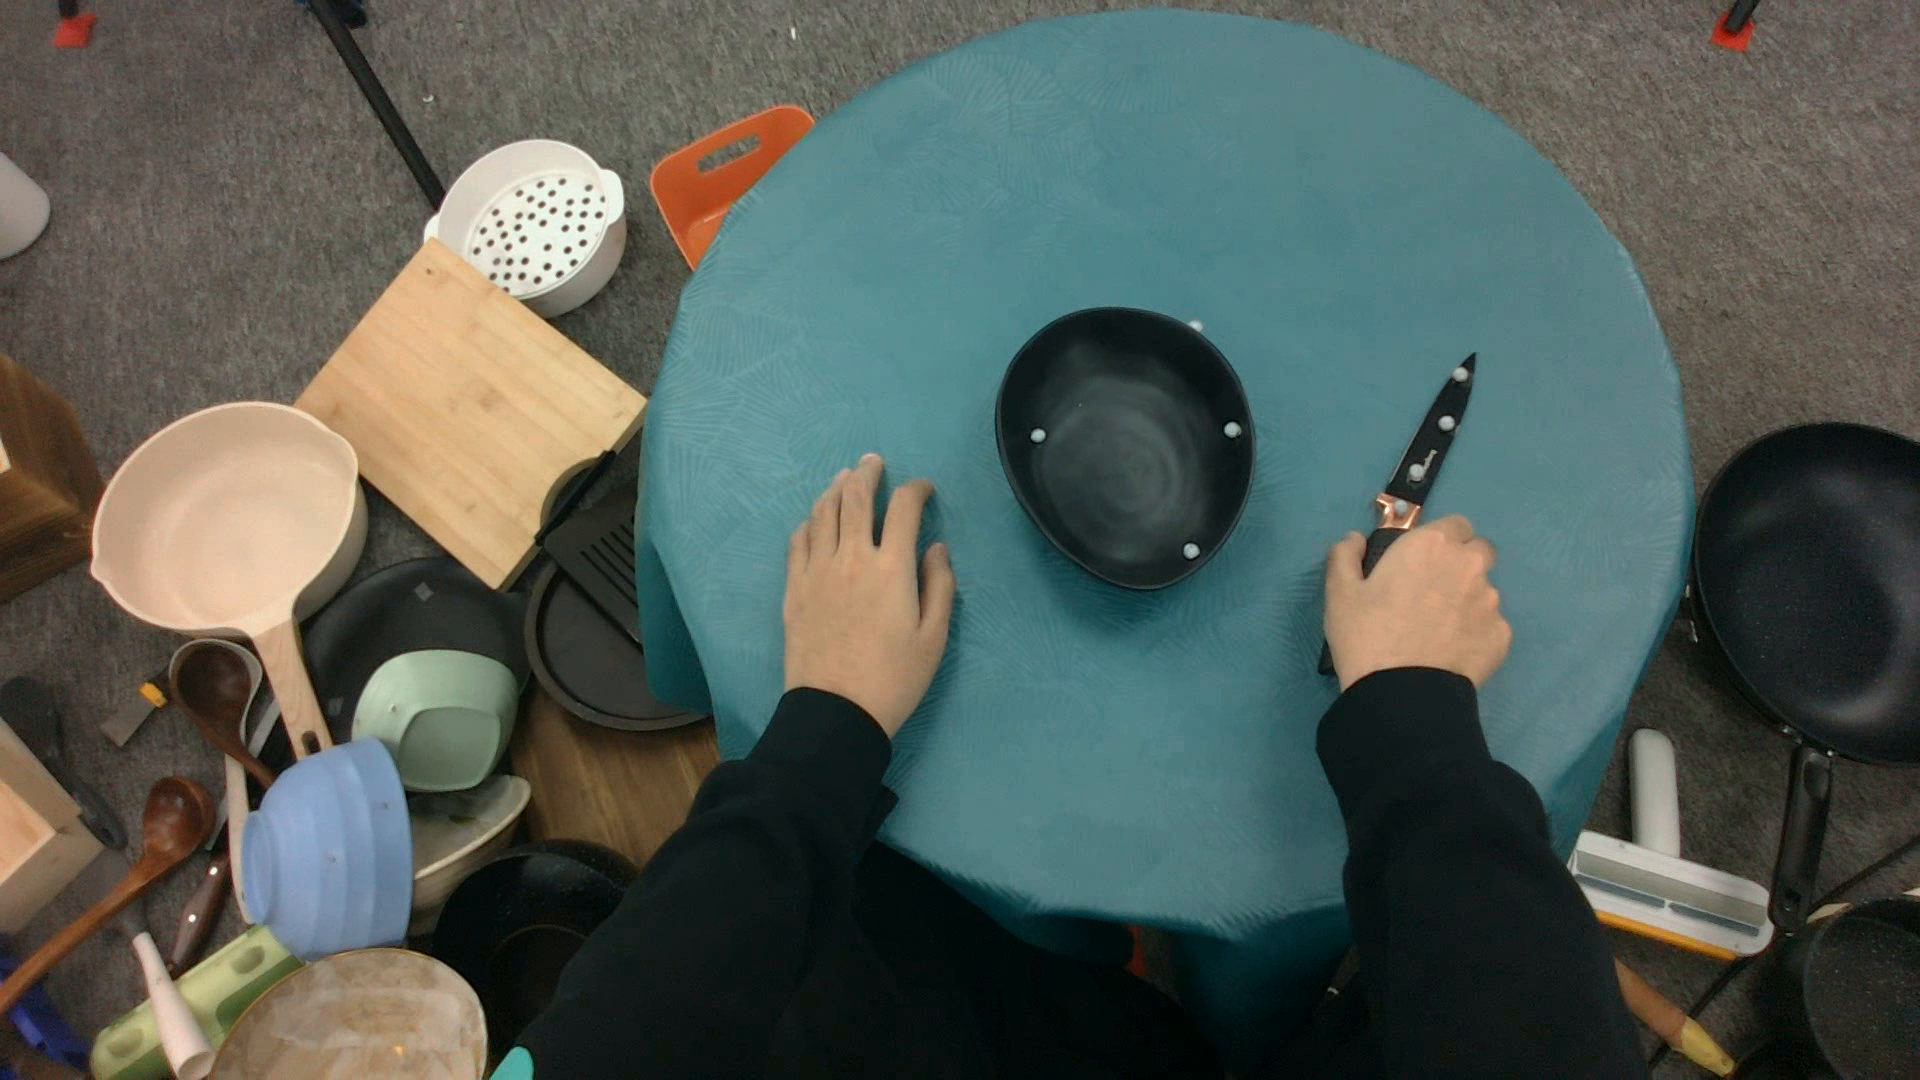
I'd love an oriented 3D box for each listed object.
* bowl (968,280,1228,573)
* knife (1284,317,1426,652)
[{"bbox_3d":[0.075,-0.058,0.758,0.137,0.066,0.171,-13,69,-2],"label":"bowl"},{"bbox_3d":[0.228,-0.036,0.769,0.026,0.017,0.226,25,68,9],"label":"knife"}]
